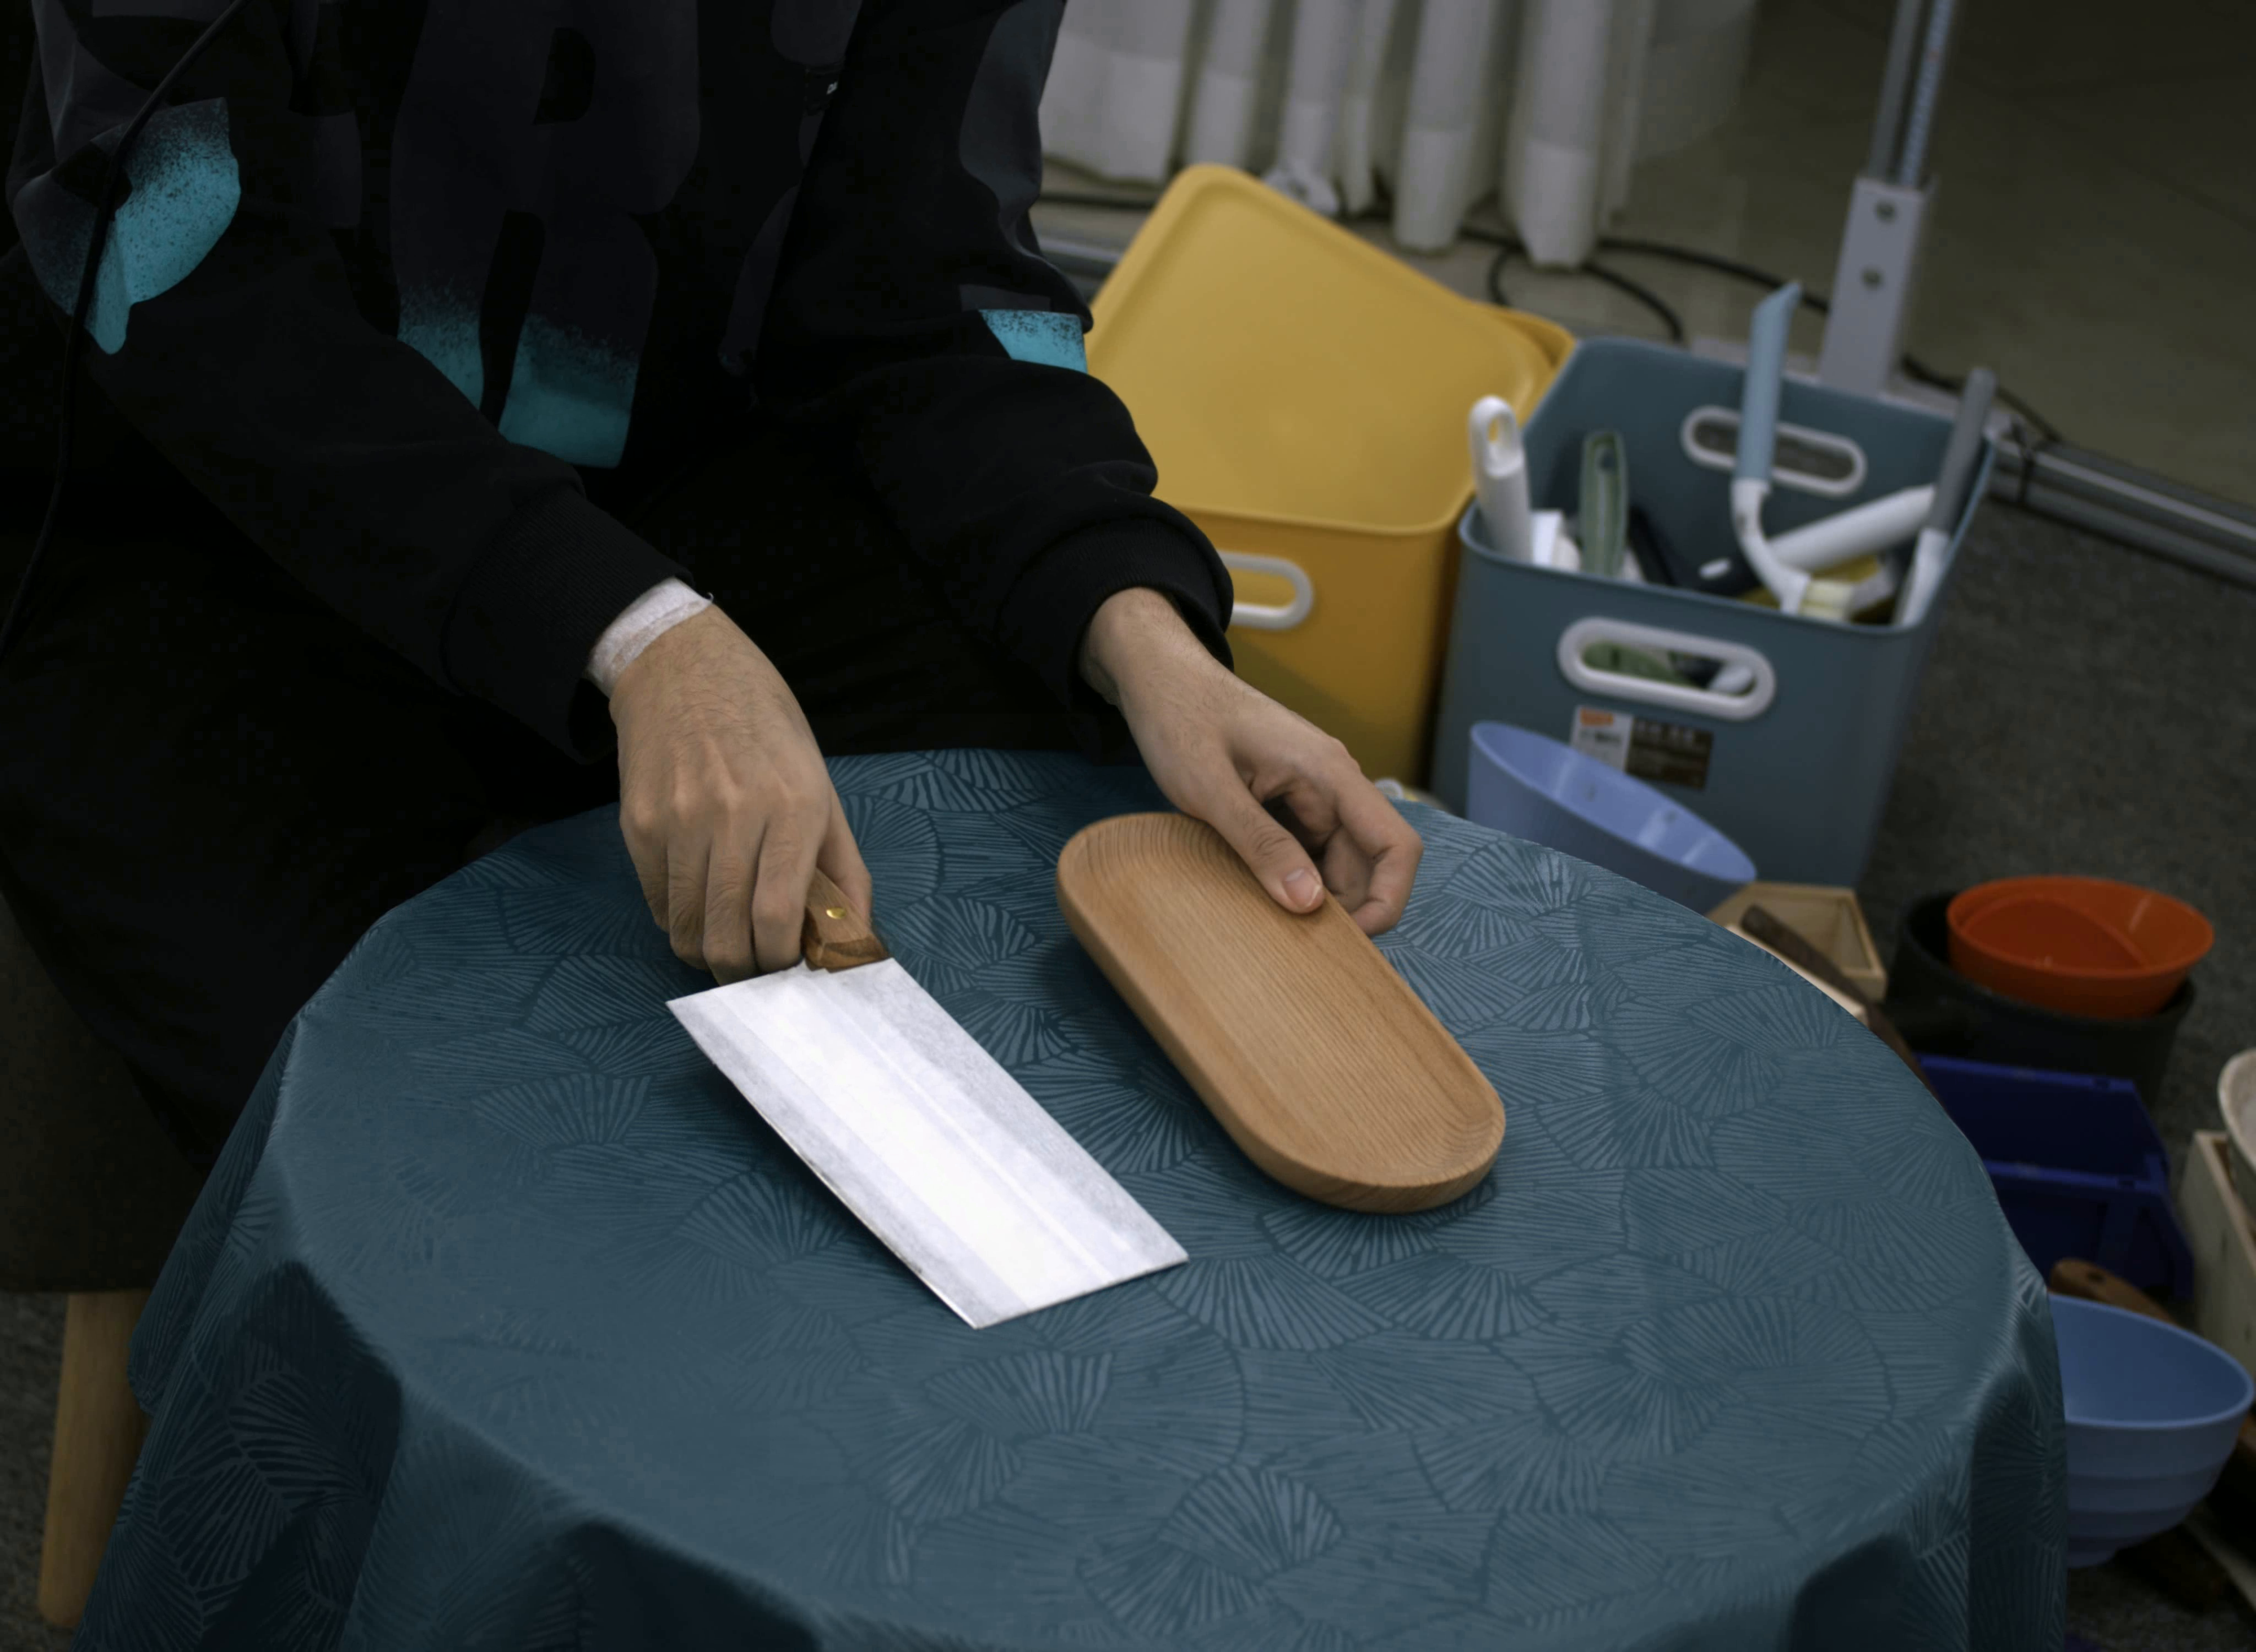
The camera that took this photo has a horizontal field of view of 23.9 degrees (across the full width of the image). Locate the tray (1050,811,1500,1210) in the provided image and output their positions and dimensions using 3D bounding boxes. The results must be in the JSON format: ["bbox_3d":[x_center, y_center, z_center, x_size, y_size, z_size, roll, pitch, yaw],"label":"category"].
[{"bbox_3d":[0.050,0.063,1.890,0.101,0.020,0.233,-9,35,-25],"label":"tray"}]

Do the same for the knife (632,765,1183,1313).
[{"bbox_3d":[-0.101,0.072,1.835,0.092,0.021,0.308,-15,41,-34],"label":"knife"}]
